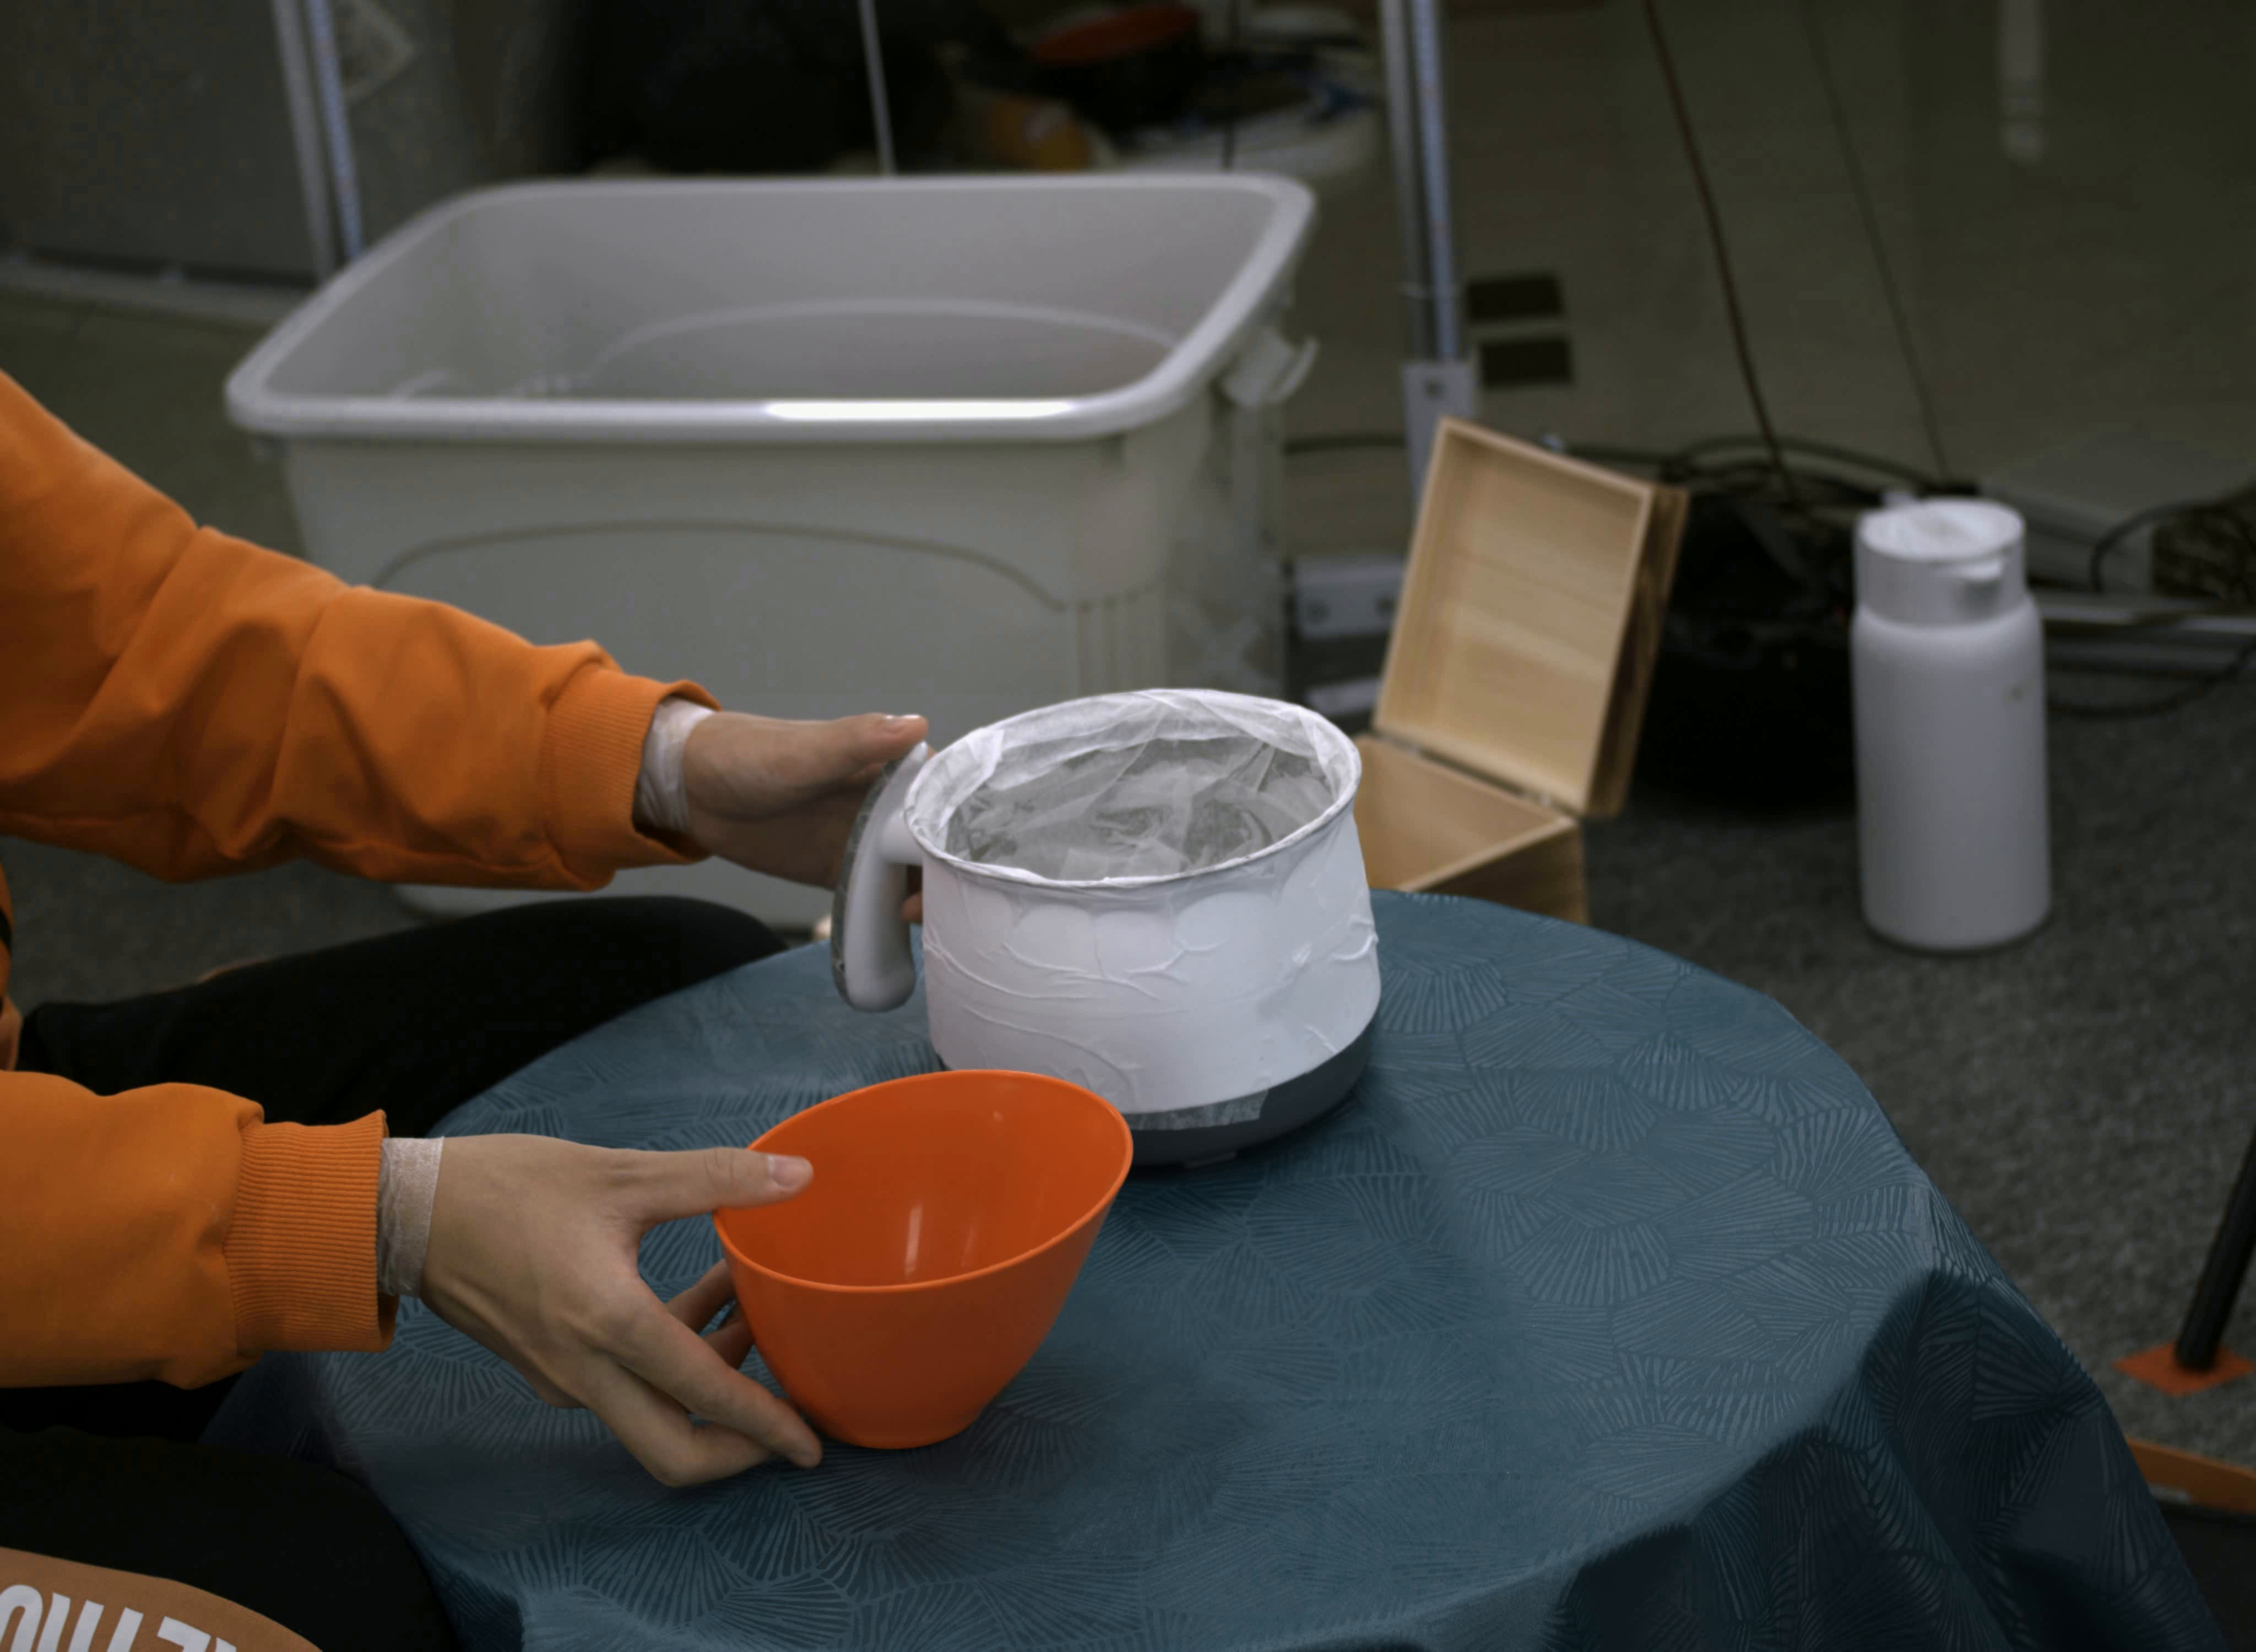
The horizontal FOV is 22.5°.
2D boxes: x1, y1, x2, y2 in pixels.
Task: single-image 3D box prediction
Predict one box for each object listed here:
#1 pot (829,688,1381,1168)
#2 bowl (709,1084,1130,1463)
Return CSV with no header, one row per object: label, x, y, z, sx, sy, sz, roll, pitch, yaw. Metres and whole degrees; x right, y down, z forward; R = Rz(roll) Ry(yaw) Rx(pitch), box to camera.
pot,-0.017,0.037,2.203,0.233,0.139,0.176,9,29,28
bowl,-0.073,0.163,1.995,0.148,0.106,0.146,0,27,0
